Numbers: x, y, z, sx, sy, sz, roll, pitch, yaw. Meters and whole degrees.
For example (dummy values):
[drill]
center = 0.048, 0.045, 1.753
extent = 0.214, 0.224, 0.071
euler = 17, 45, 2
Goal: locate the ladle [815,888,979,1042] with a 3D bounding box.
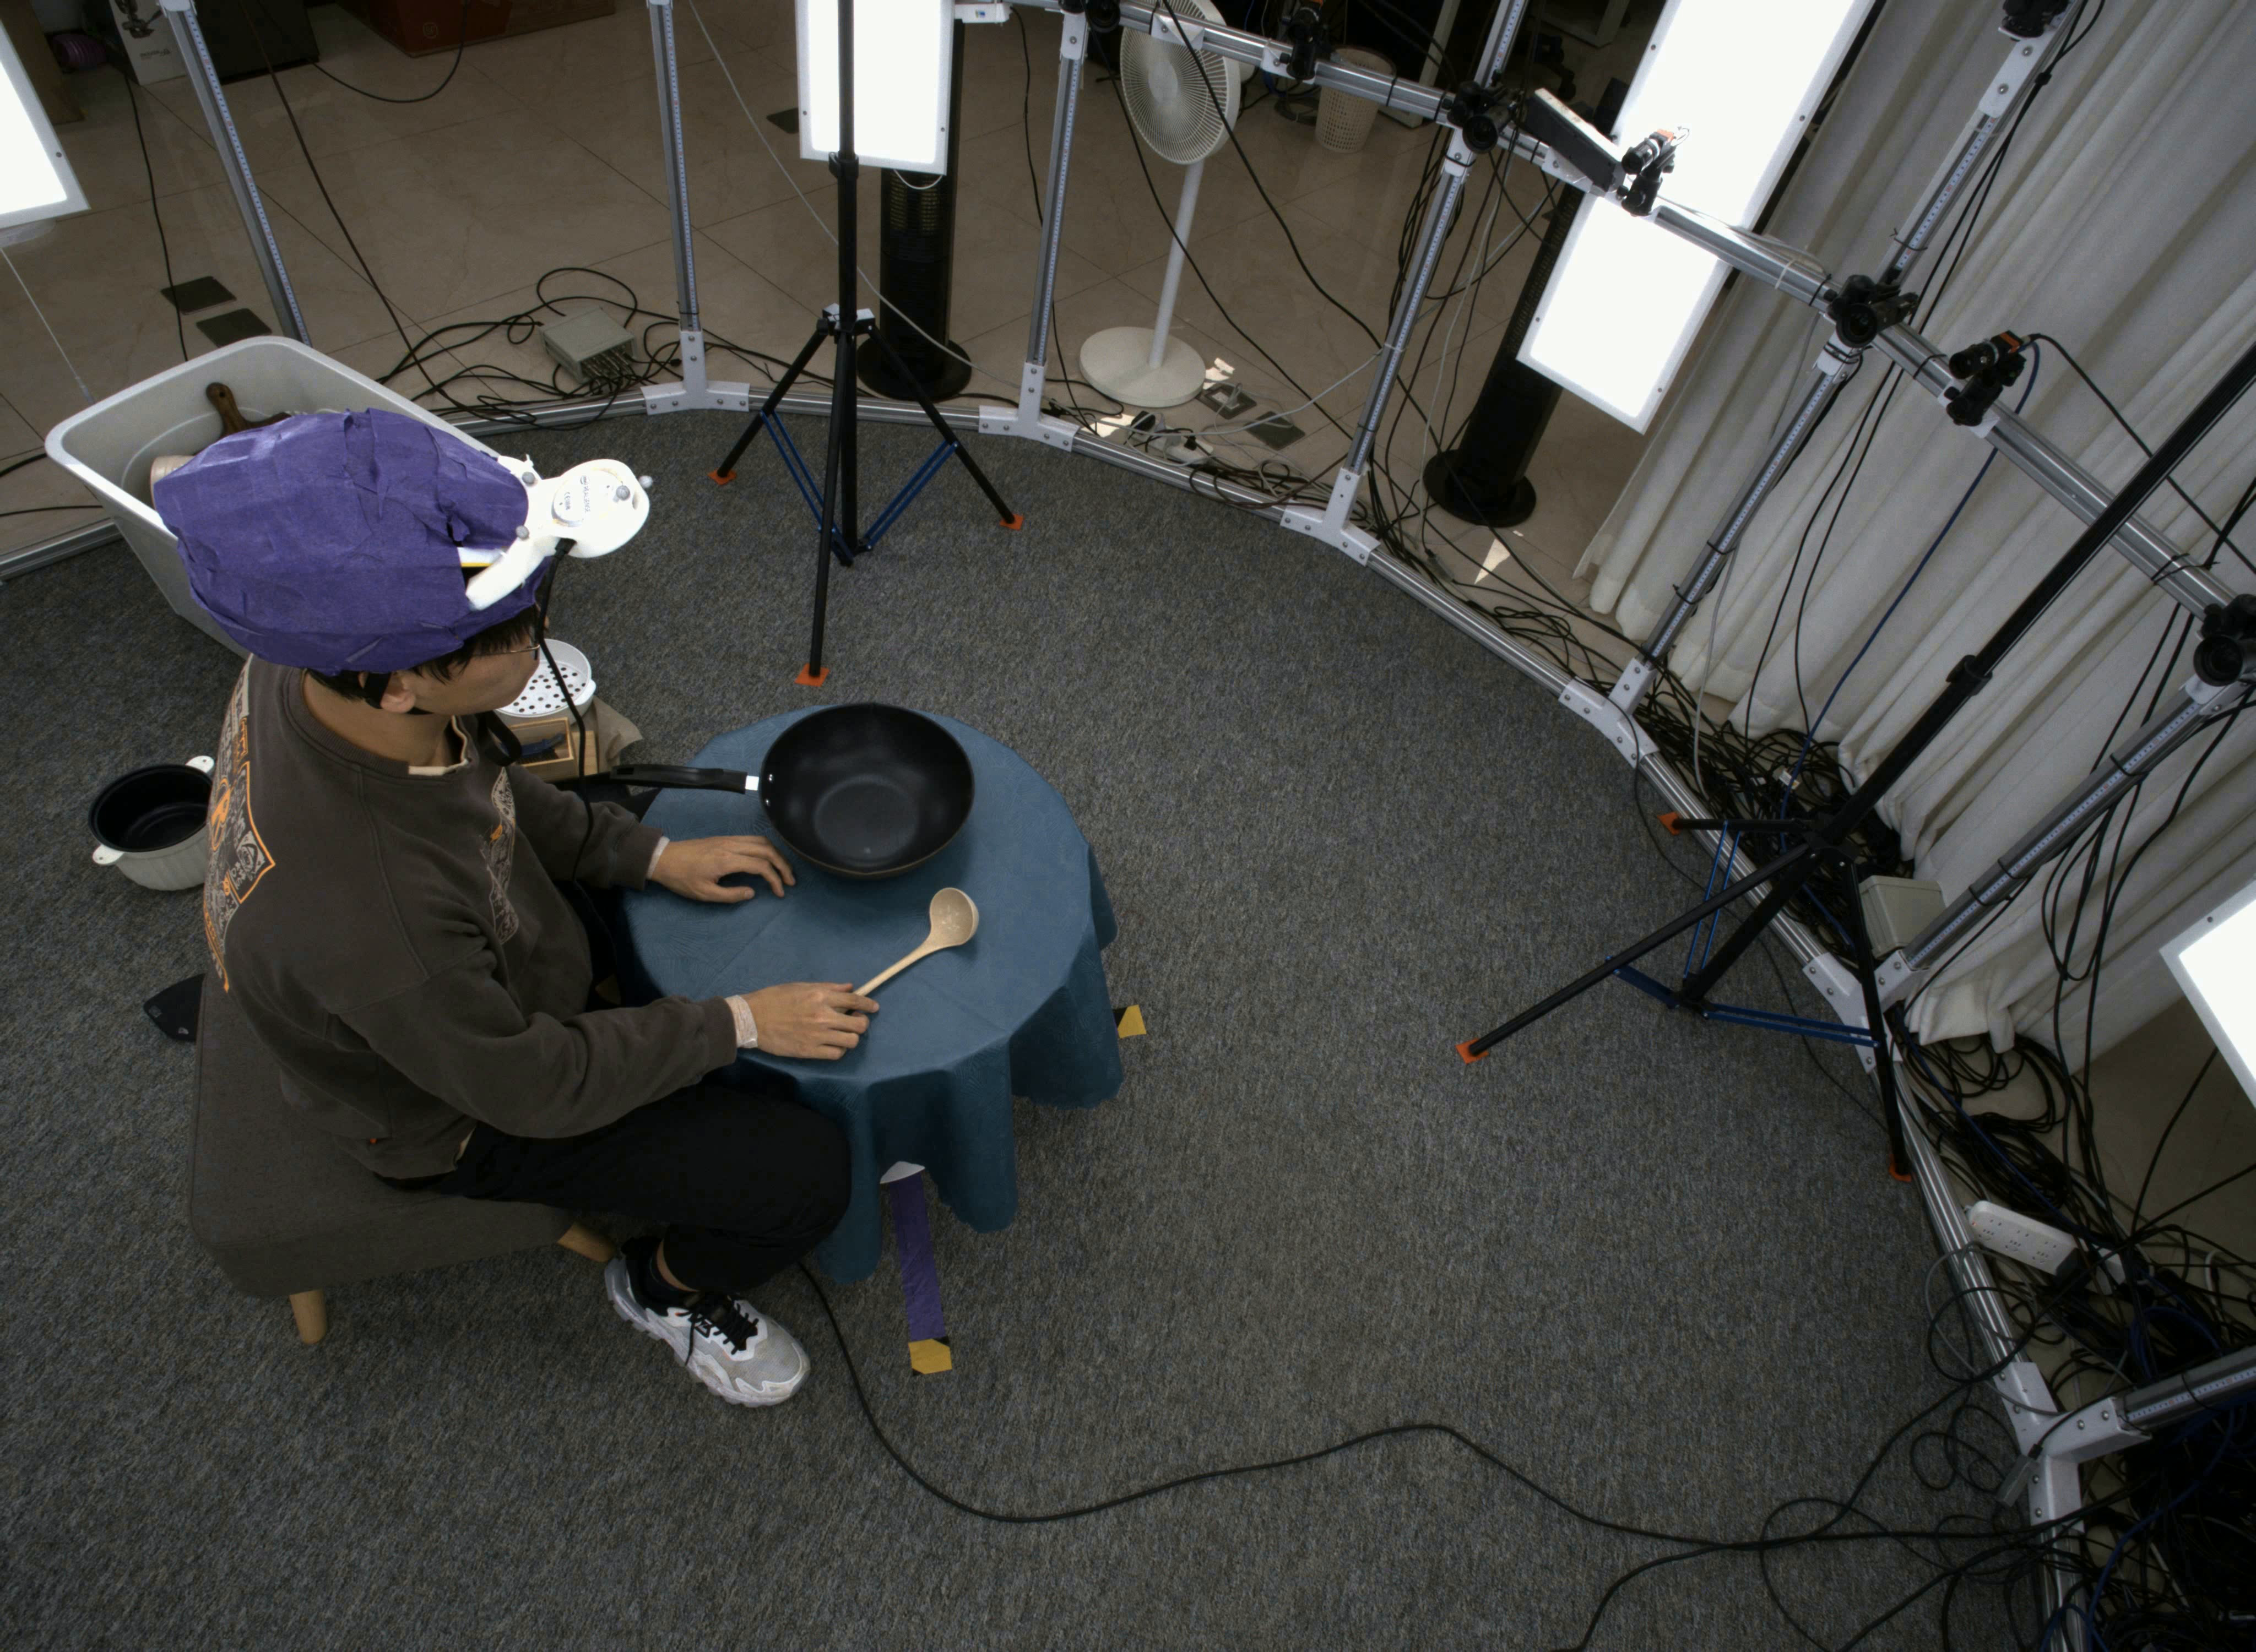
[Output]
[ladle]
center = -0.287, 0.166, 1.604
extent = 0.071, 0.074, 0.254
euler = 41, 56, 14

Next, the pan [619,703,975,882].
[pan]
center = -0.433, -0.035, 1.709
extent = 0.463, 0.089, 0.282
euler = 2, 54, -11
